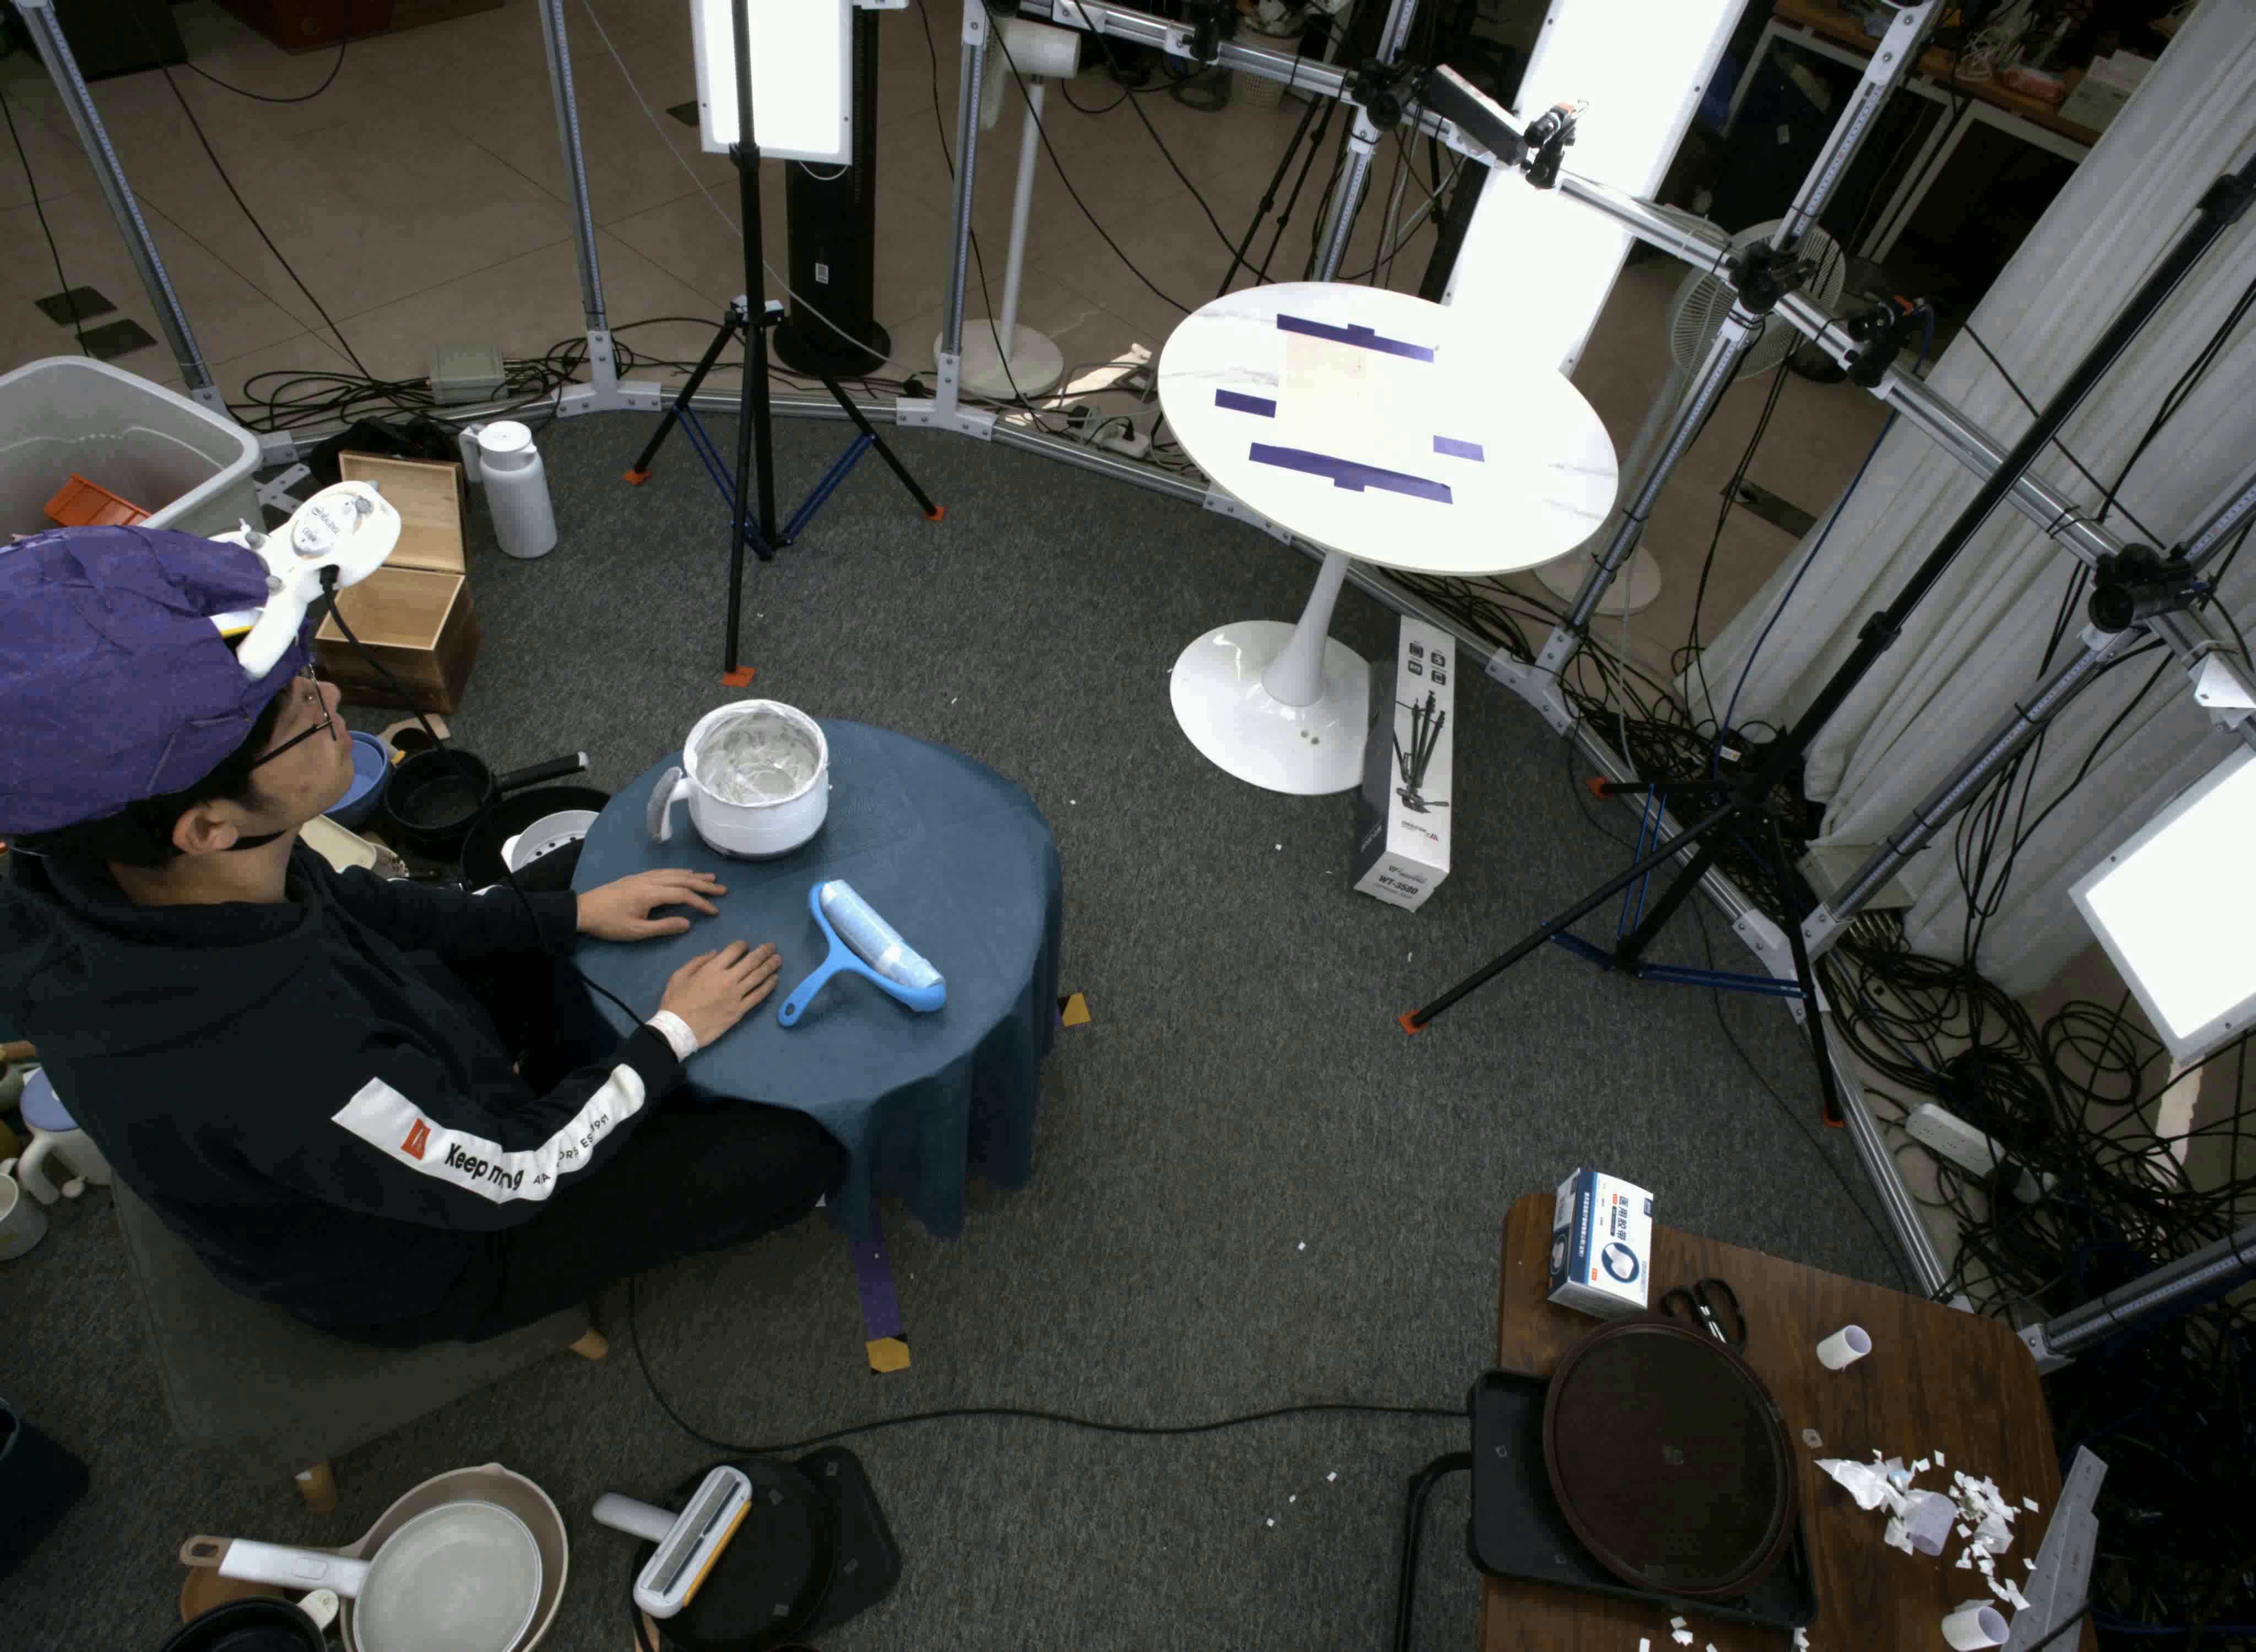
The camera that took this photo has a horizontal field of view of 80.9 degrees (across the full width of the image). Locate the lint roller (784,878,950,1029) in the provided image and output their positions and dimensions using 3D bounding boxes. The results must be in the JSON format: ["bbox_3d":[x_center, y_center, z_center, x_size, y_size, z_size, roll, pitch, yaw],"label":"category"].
[{"bbox_3d":[-0.346,0.174,1.586,0.225,0.069,0.180,39,54,12],"label":"lint roller"}]

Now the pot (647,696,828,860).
[{"bbox_3d":[-0.501,-0.051,1.655,0.235,0.139,0.174,-17,59,-27],"label":"pot"}]
